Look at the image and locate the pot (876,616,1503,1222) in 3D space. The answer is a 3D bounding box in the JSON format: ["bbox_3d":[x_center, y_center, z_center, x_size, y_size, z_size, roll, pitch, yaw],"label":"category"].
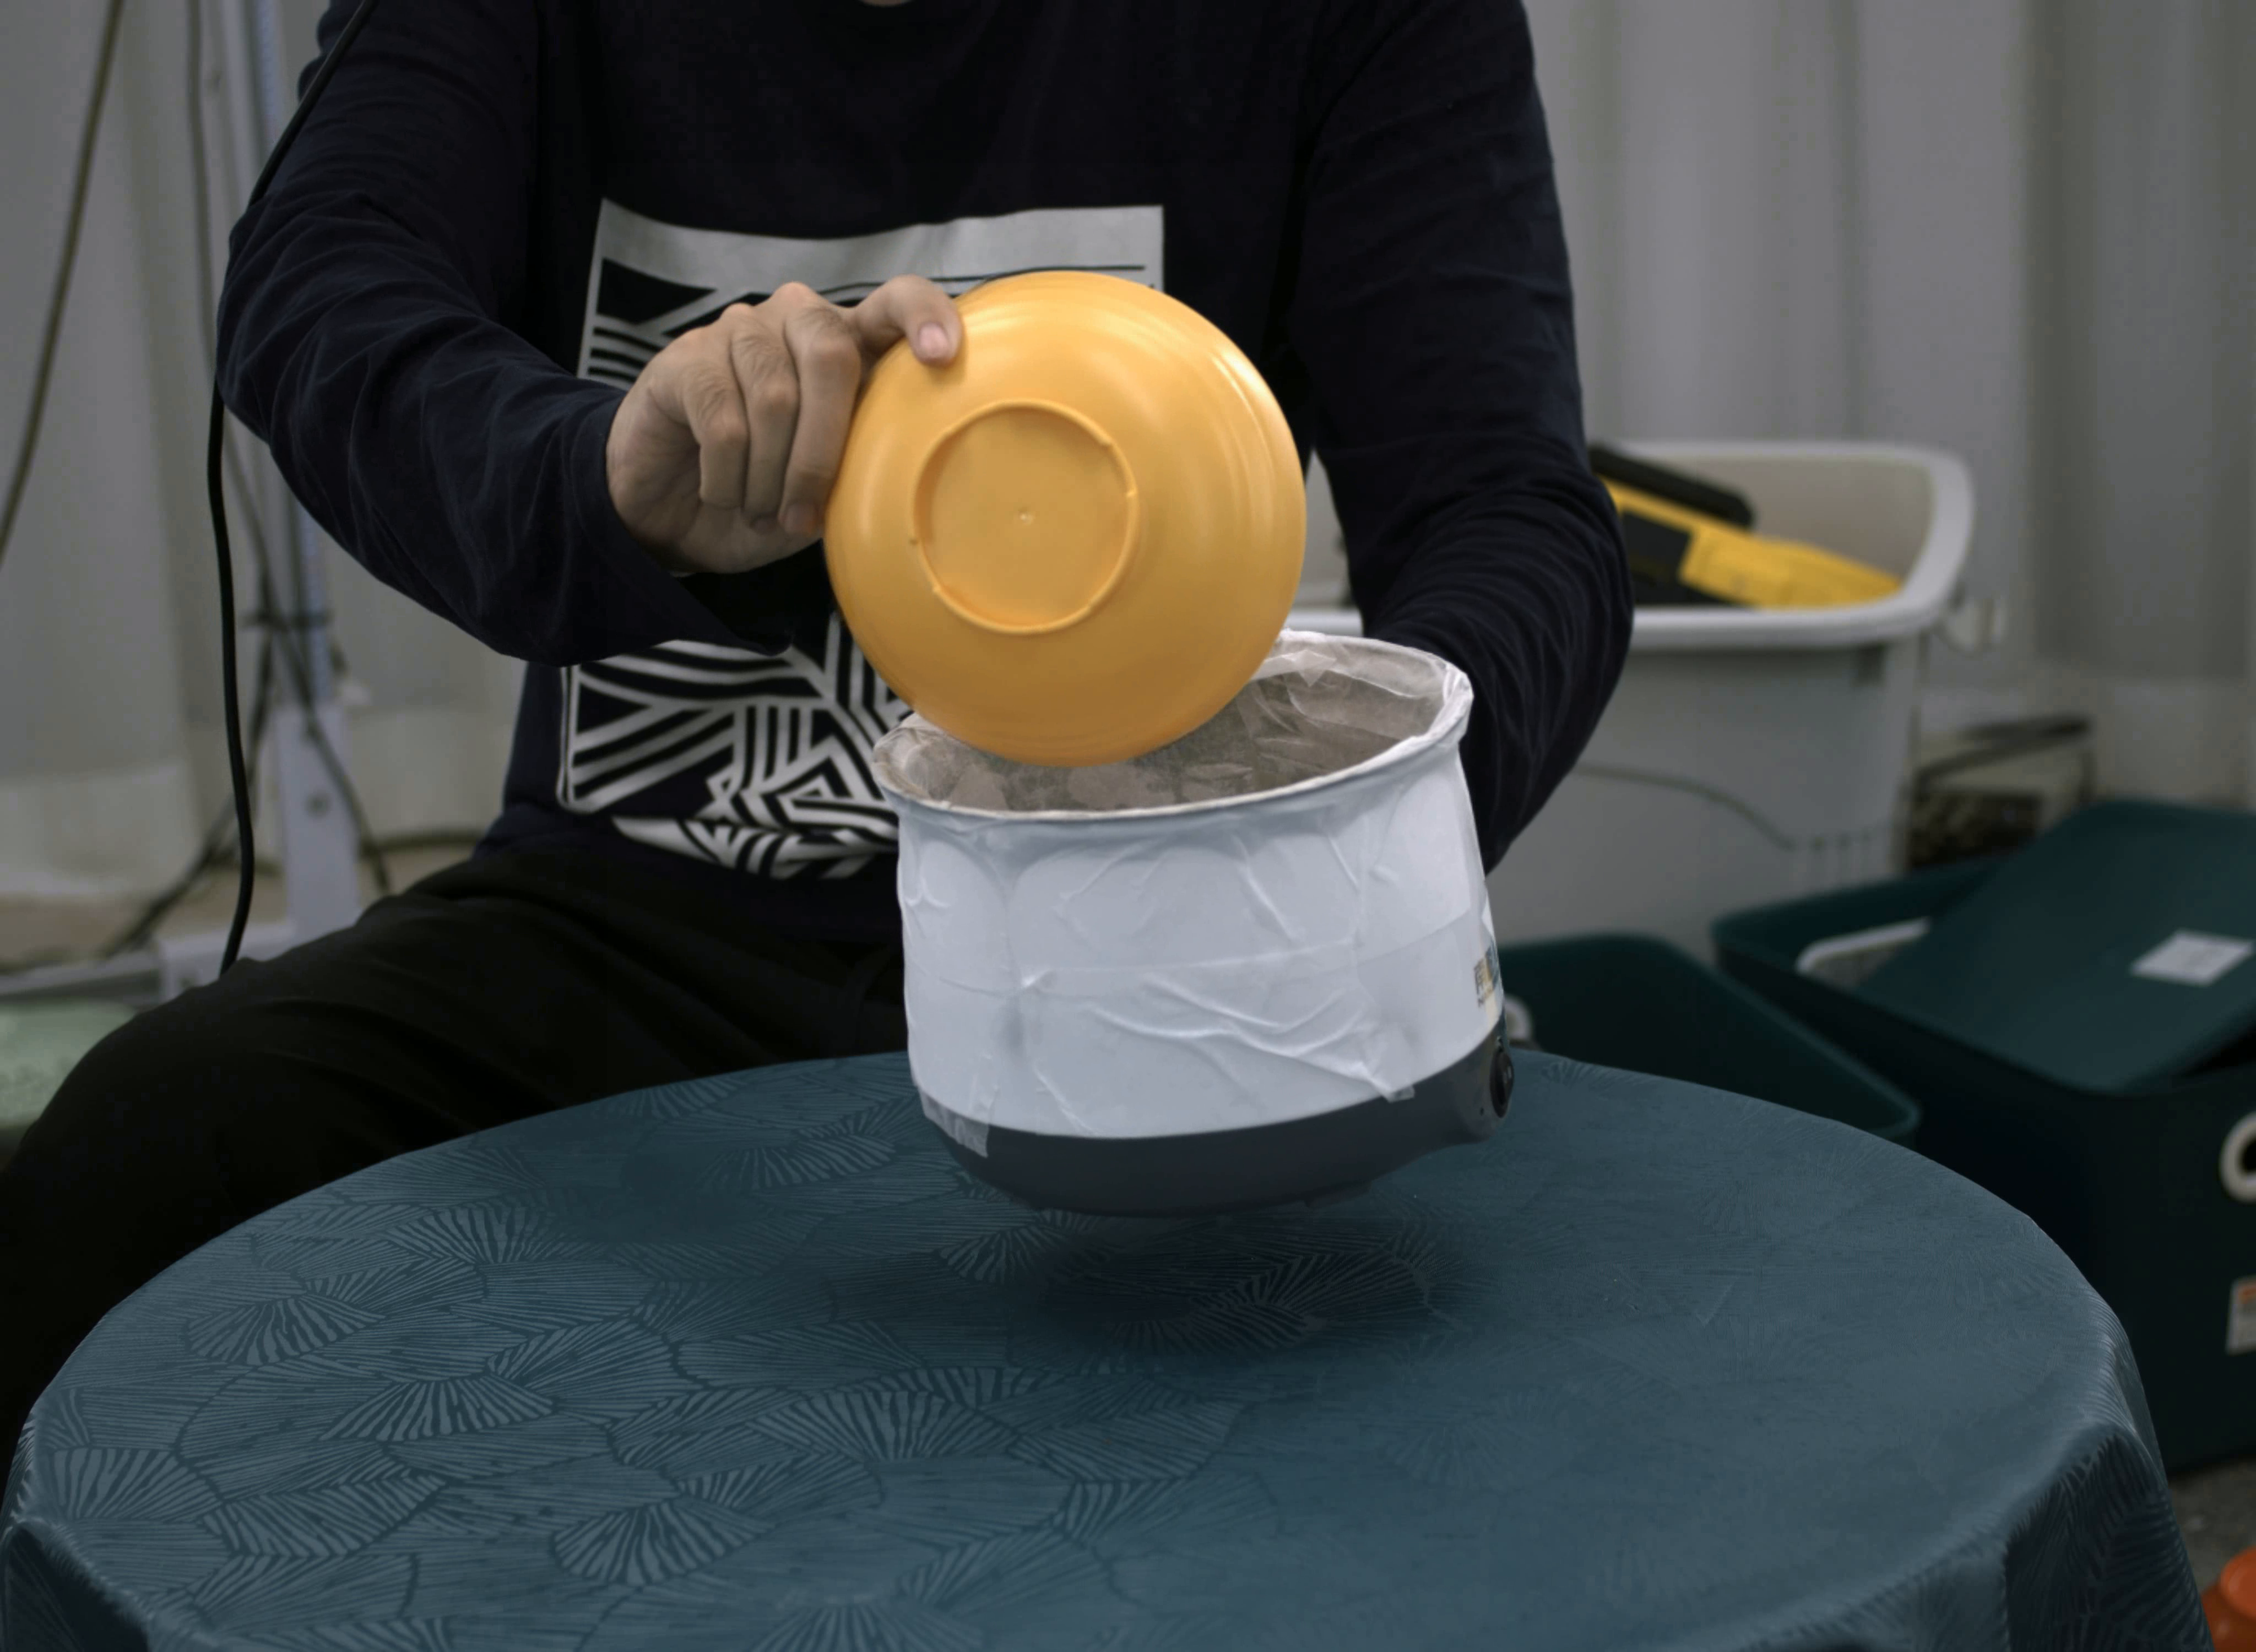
[{"bbox_3d":[0.026,0.020,1.637,0.178,0.136,0.235,0,19,15],"label":"pot"}]

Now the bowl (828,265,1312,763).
[{"bbox_3d":[-0.022,-0.090,1.569,0.145,0.146,0.060,0,1,10],"label":"bowl"}]
